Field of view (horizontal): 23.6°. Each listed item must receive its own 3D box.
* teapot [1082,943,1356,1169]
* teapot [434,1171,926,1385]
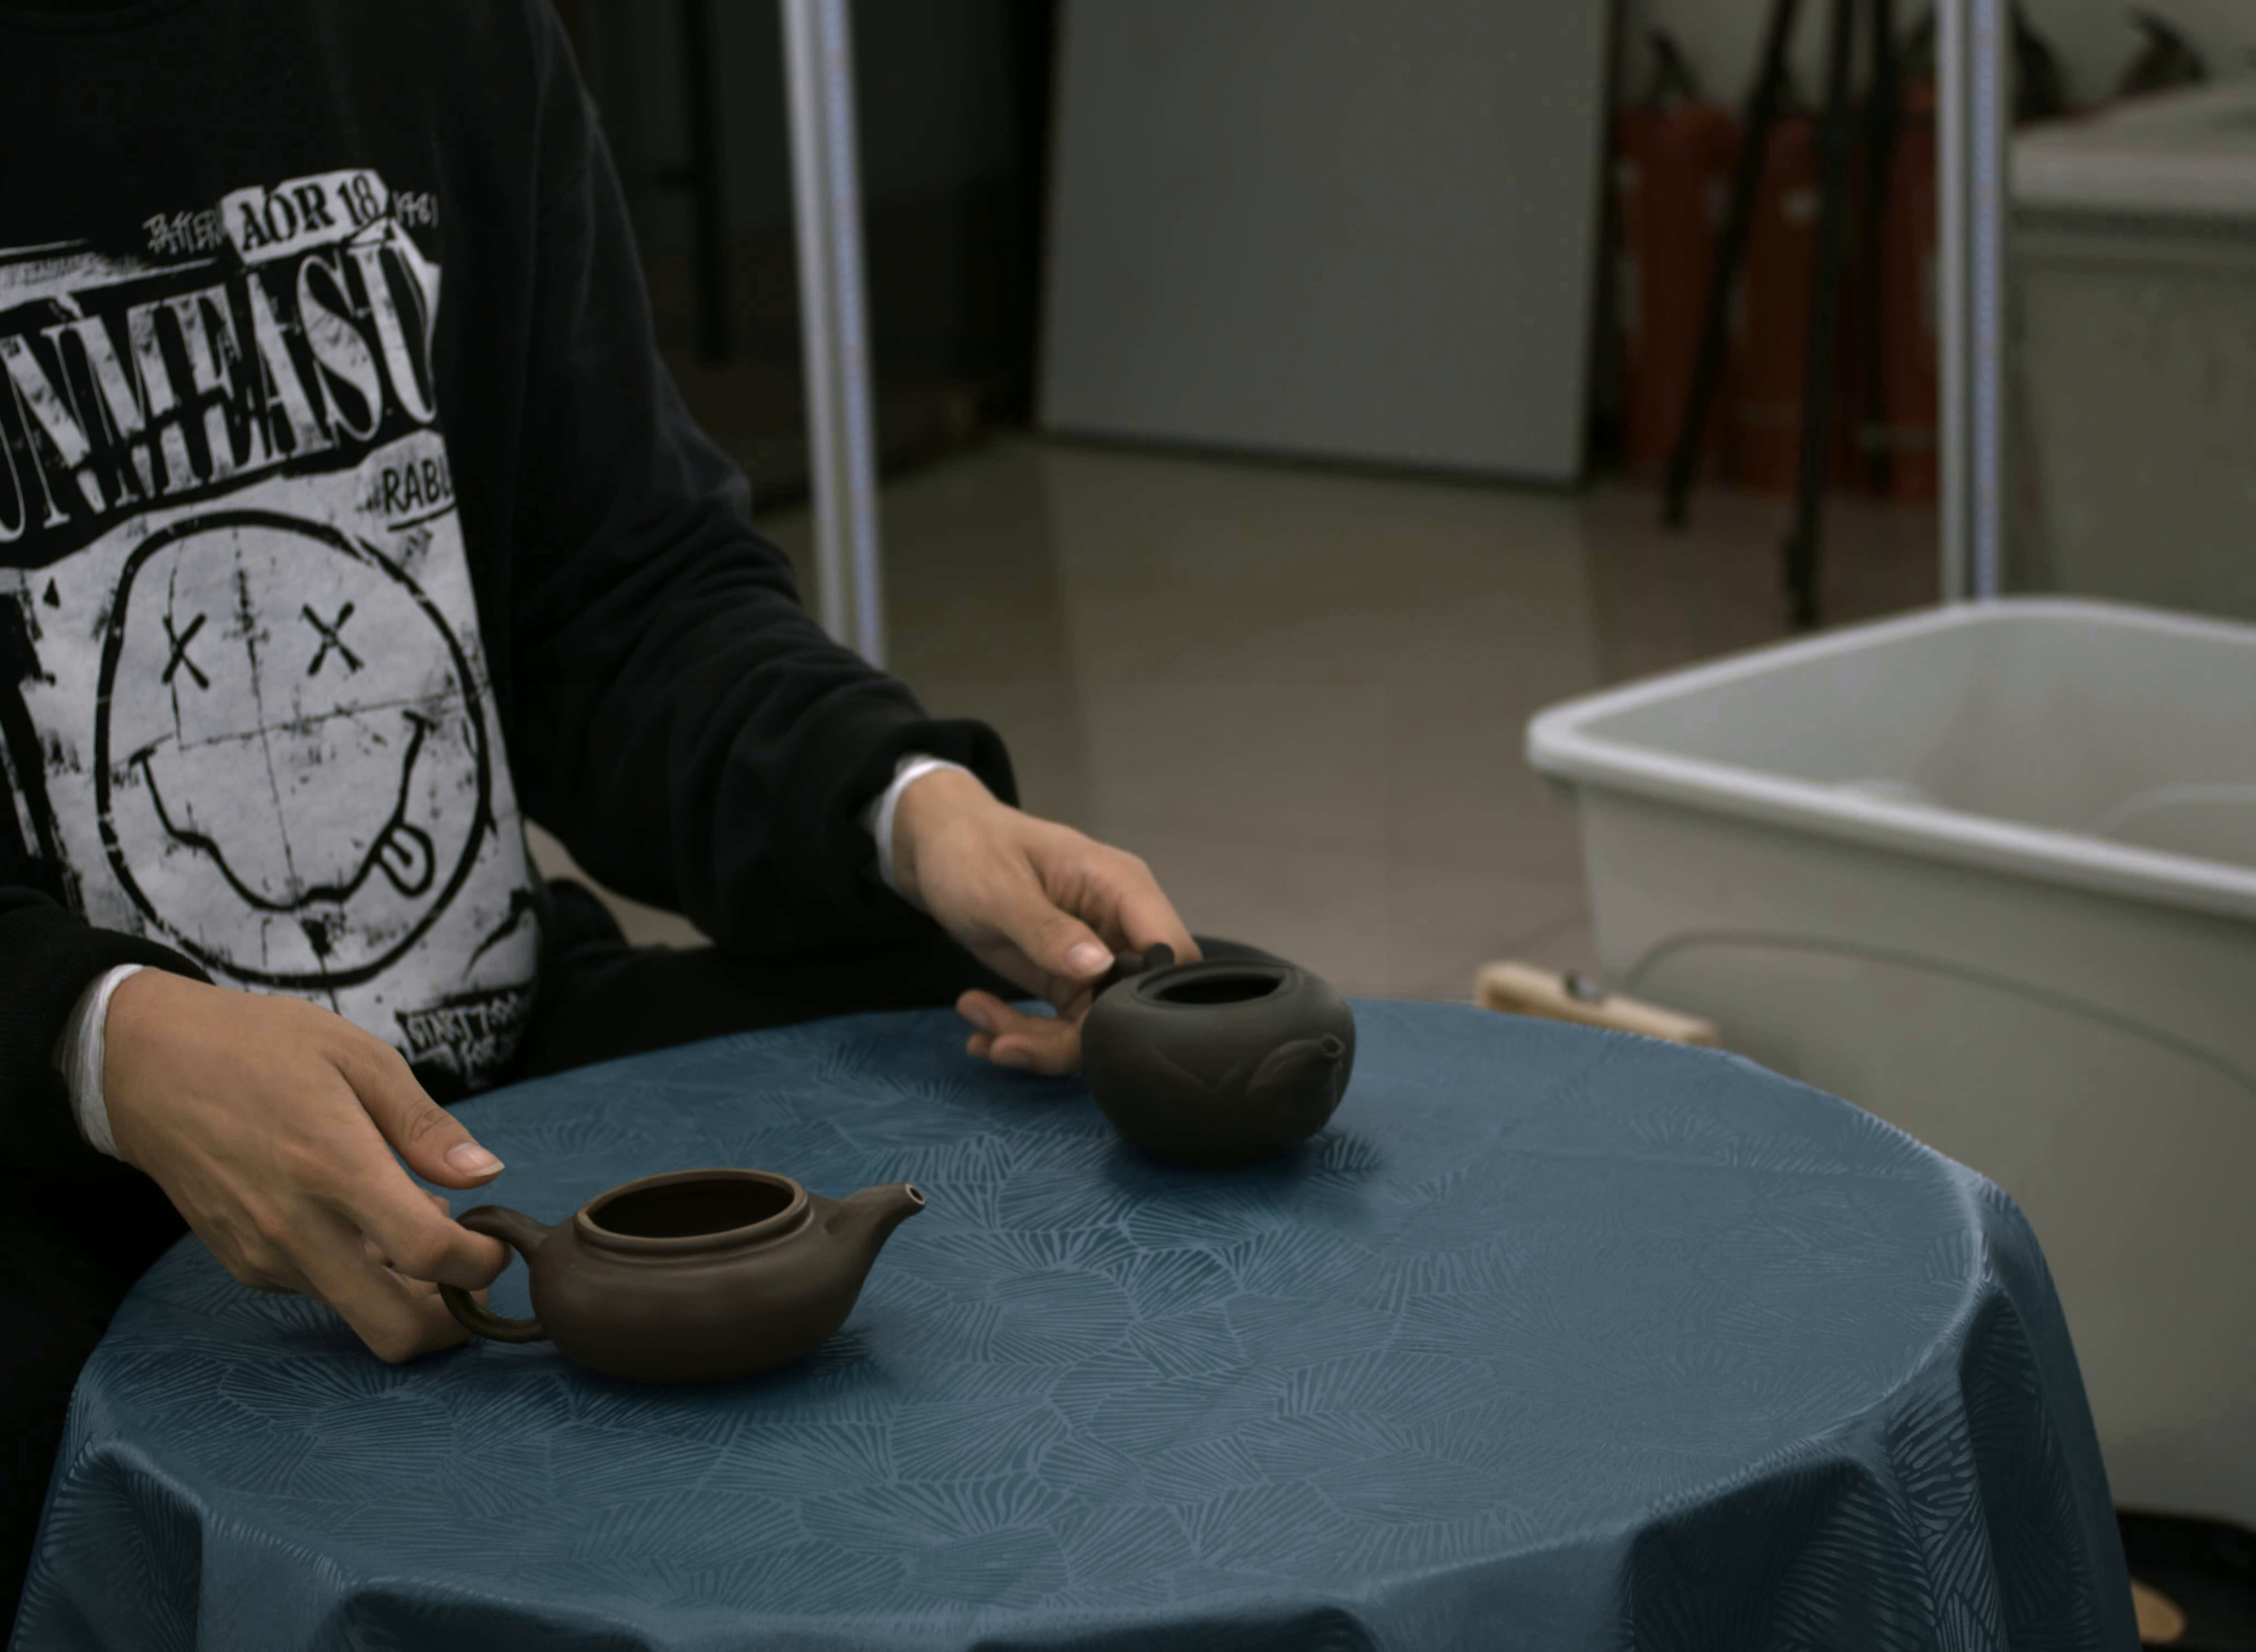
[{"bbox_3d":[0.029,0.077,1.809,0.090,0.065,0.156,-9,15,-28],"label":"teapot"},{"bbox_3d":[-0.135,0.136,1.642,0.152,0.054,0.102,-3,11,3],"label":"teapot"}]
